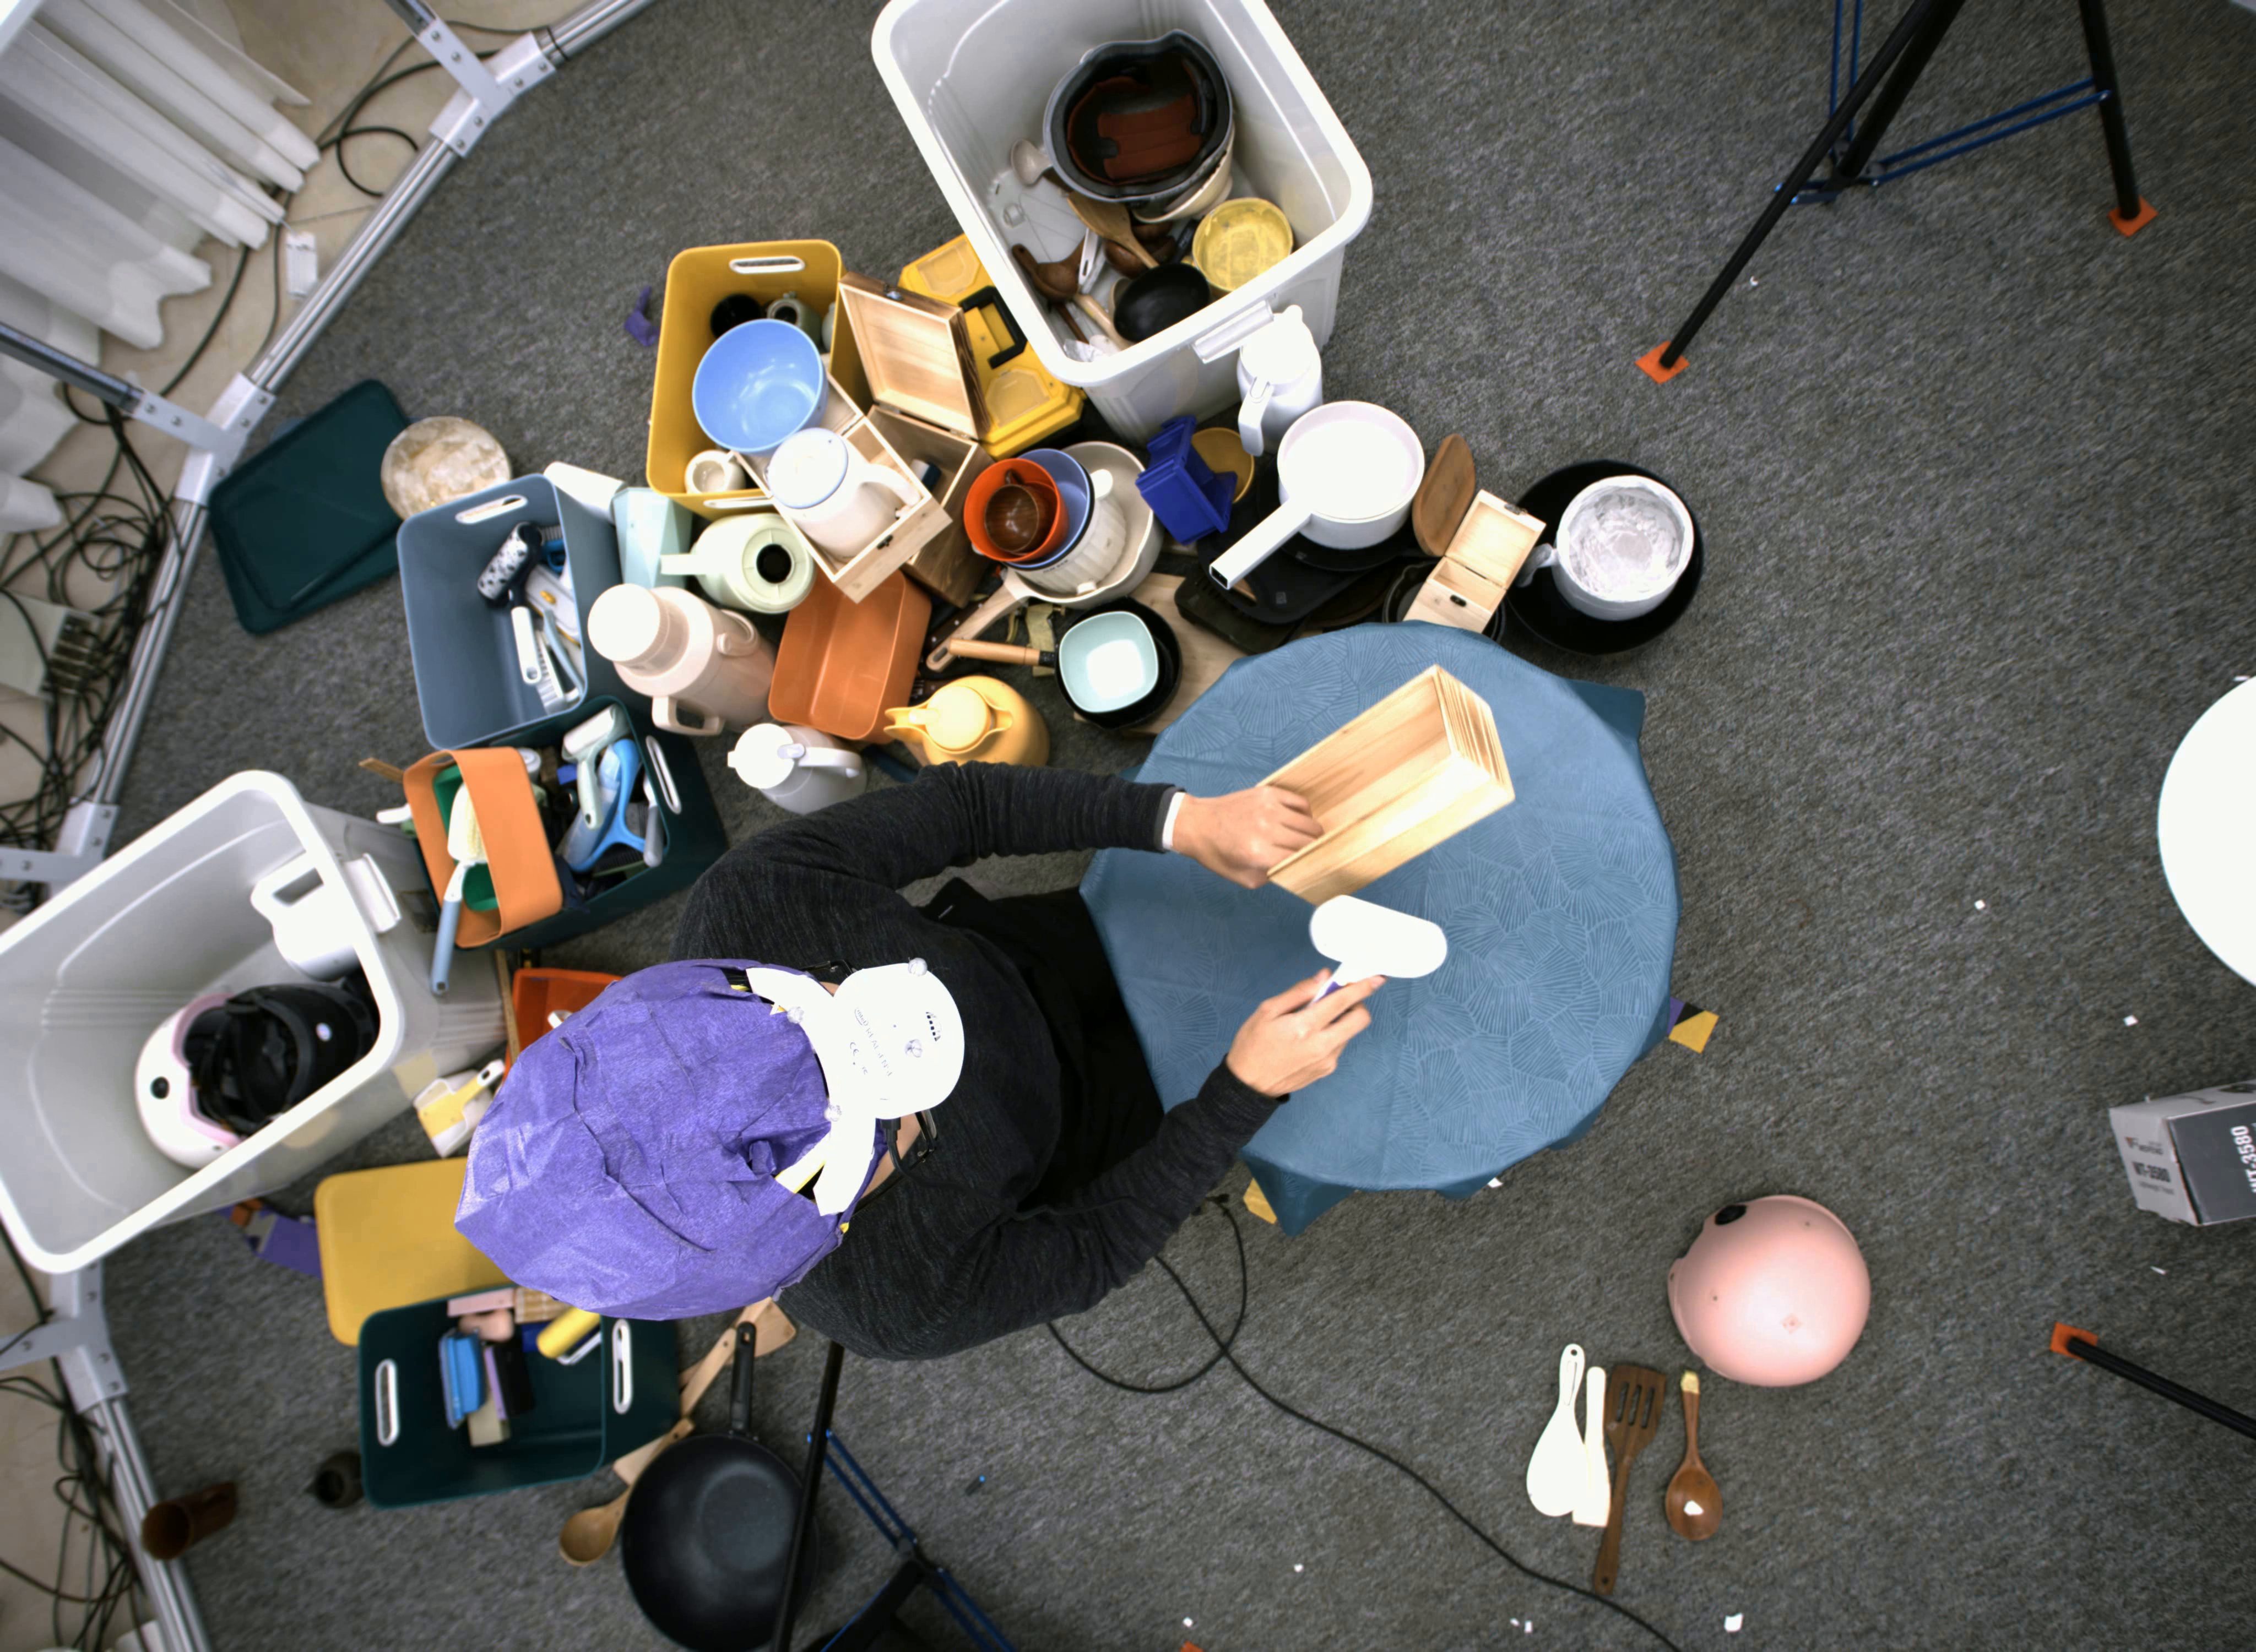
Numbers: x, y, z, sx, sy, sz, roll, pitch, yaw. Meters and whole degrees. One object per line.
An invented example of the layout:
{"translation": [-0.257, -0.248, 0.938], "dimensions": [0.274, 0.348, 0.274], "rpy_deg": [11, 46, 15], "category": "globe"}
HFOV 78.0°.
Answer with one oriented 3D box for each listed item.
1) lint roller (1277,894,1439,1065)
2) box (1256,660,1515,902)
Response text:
{"translation": [0.186, 0.147, 1.224], "dimensions": [0.133, 0.049, 0.183], "rpy_deg": [18, 111, -30], "category": "lint roller"}
{"translation": [0.220, -0.035, 1.207], "dimensions": [0.216, 0.080, 0.105], "rpy_deg": [-37, 43, 35], "category": "box"}
